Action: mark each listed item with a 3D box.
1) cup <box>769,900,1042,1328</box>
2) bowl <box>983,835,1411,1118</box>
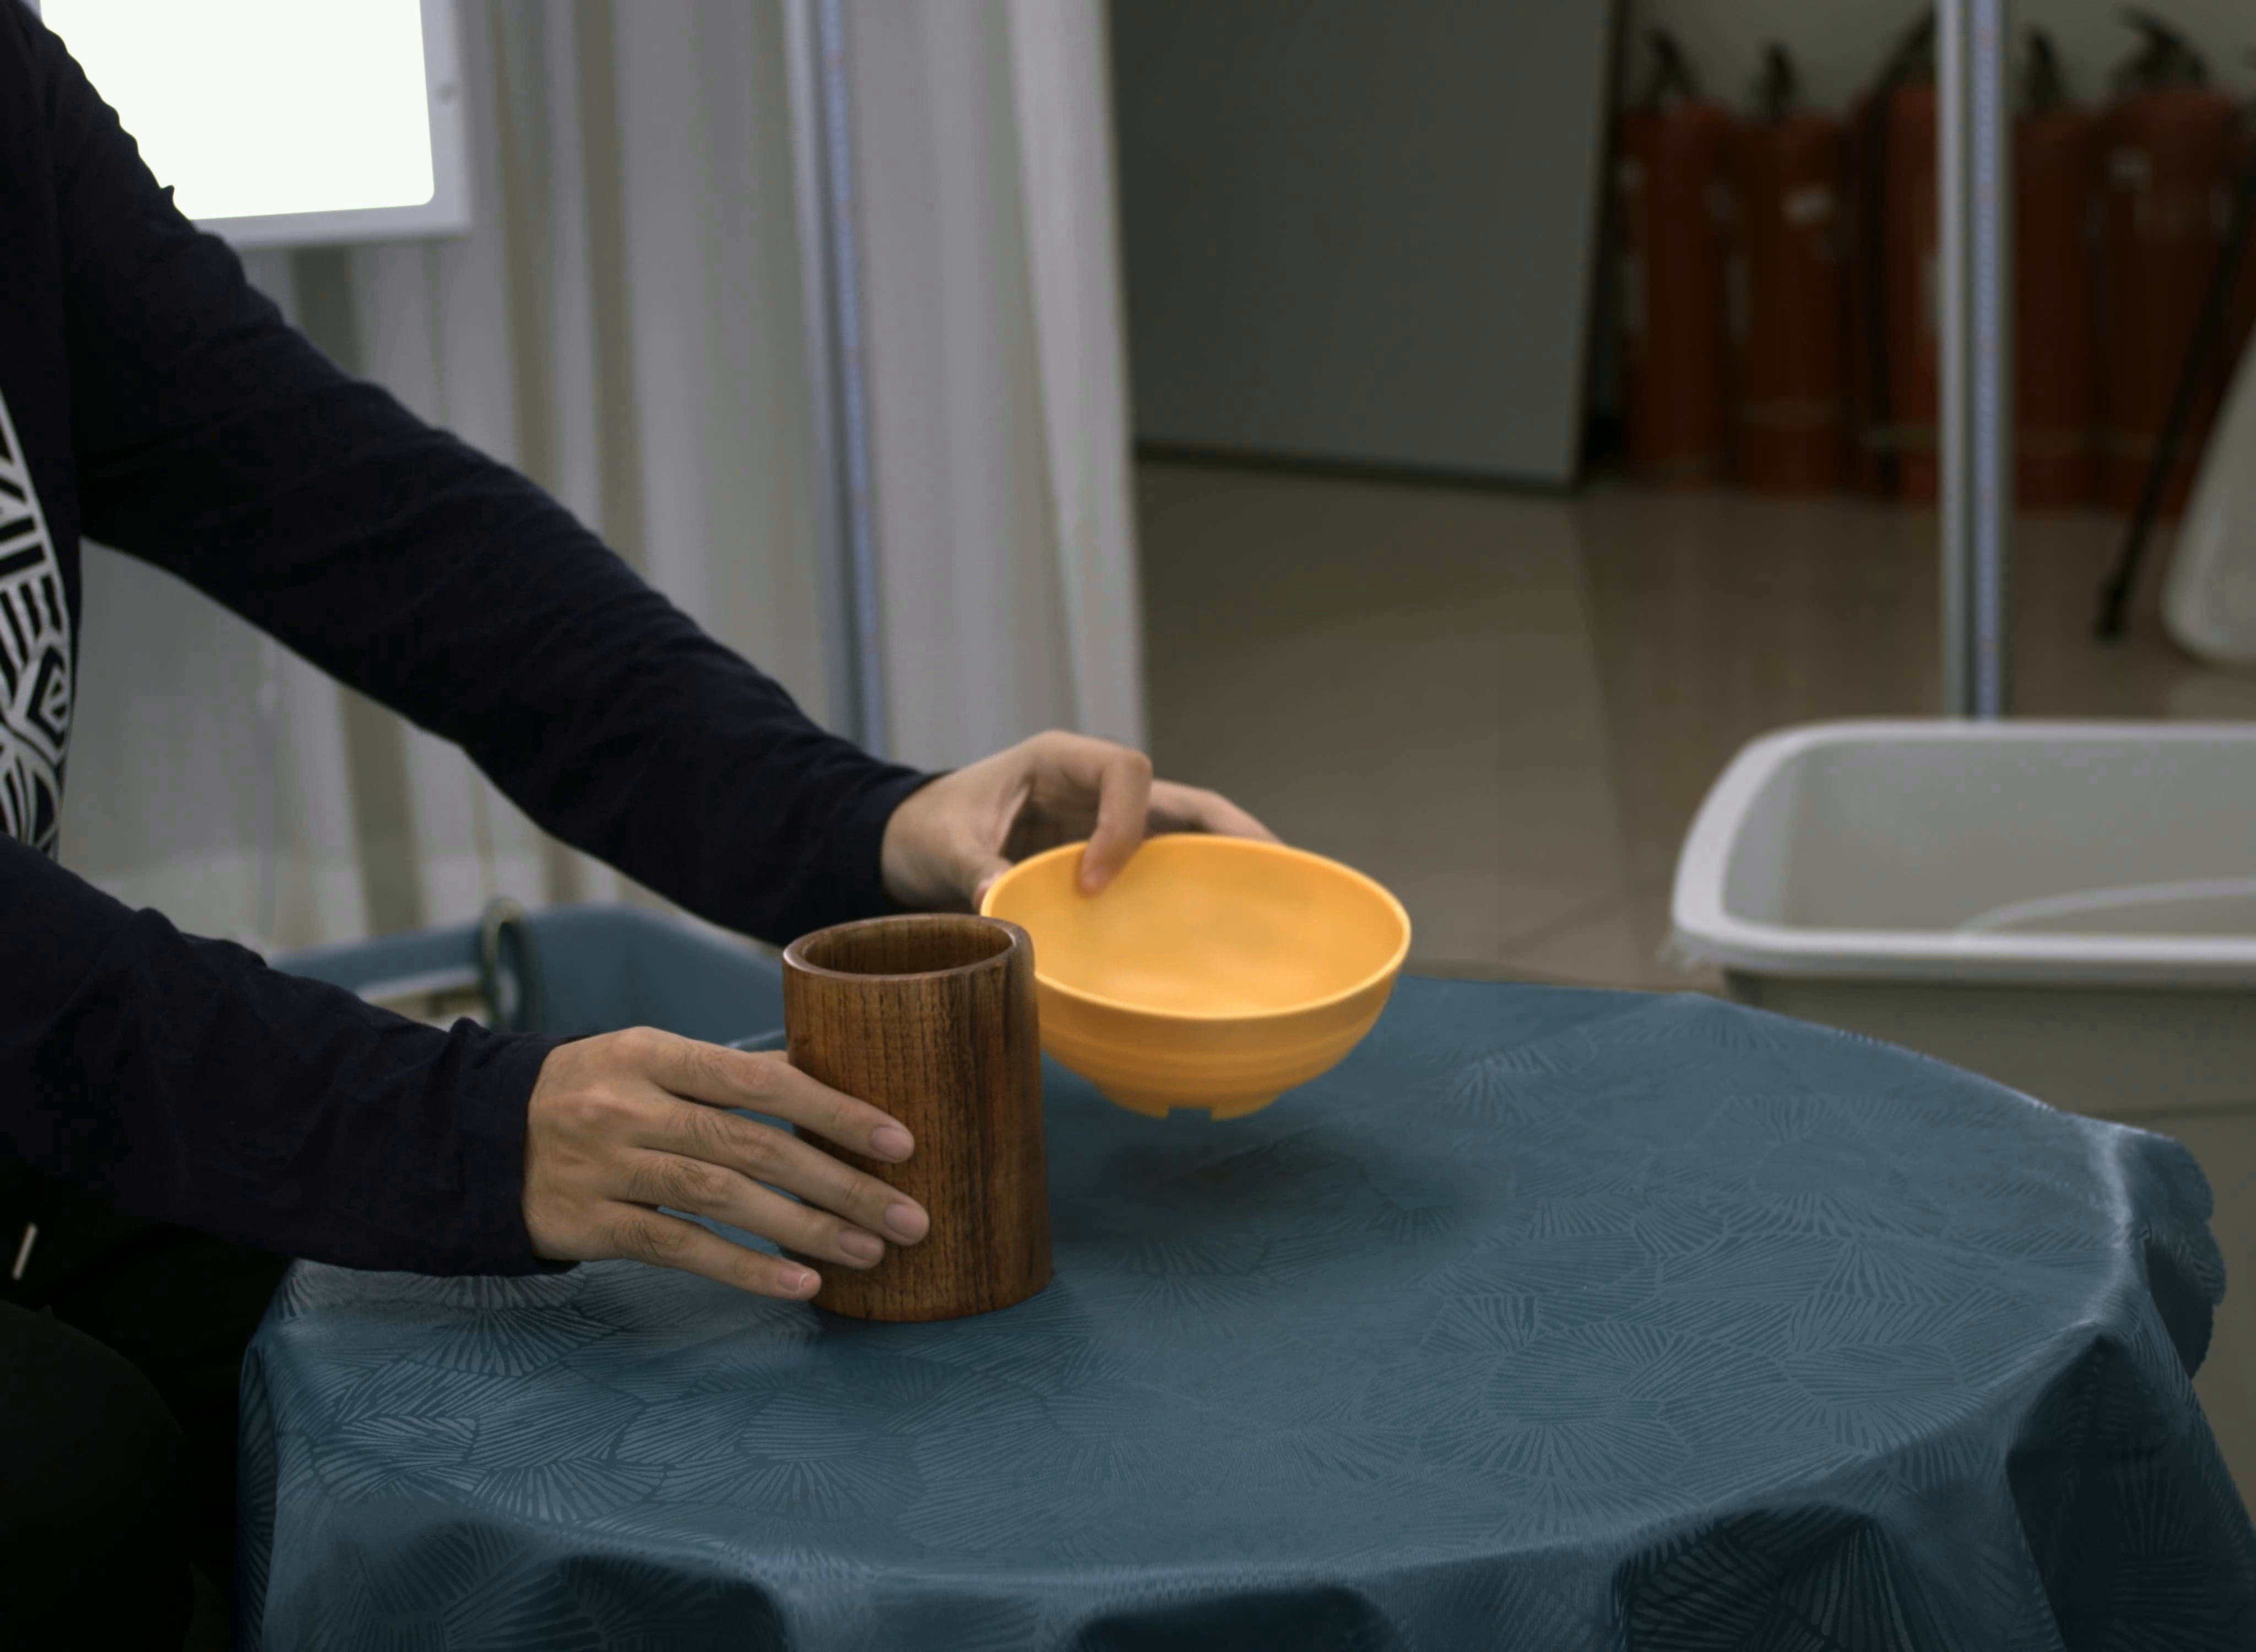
[{"bbox_3d":[-0.069,0.089,1.681,0.086,0.120,0.088,-2,10,-1],"label":"cup"},{"bbox_3d":[0.022,0.056,1.784,0.143,0.061,0.146,0,22,-1],"label":"bowl"}]
